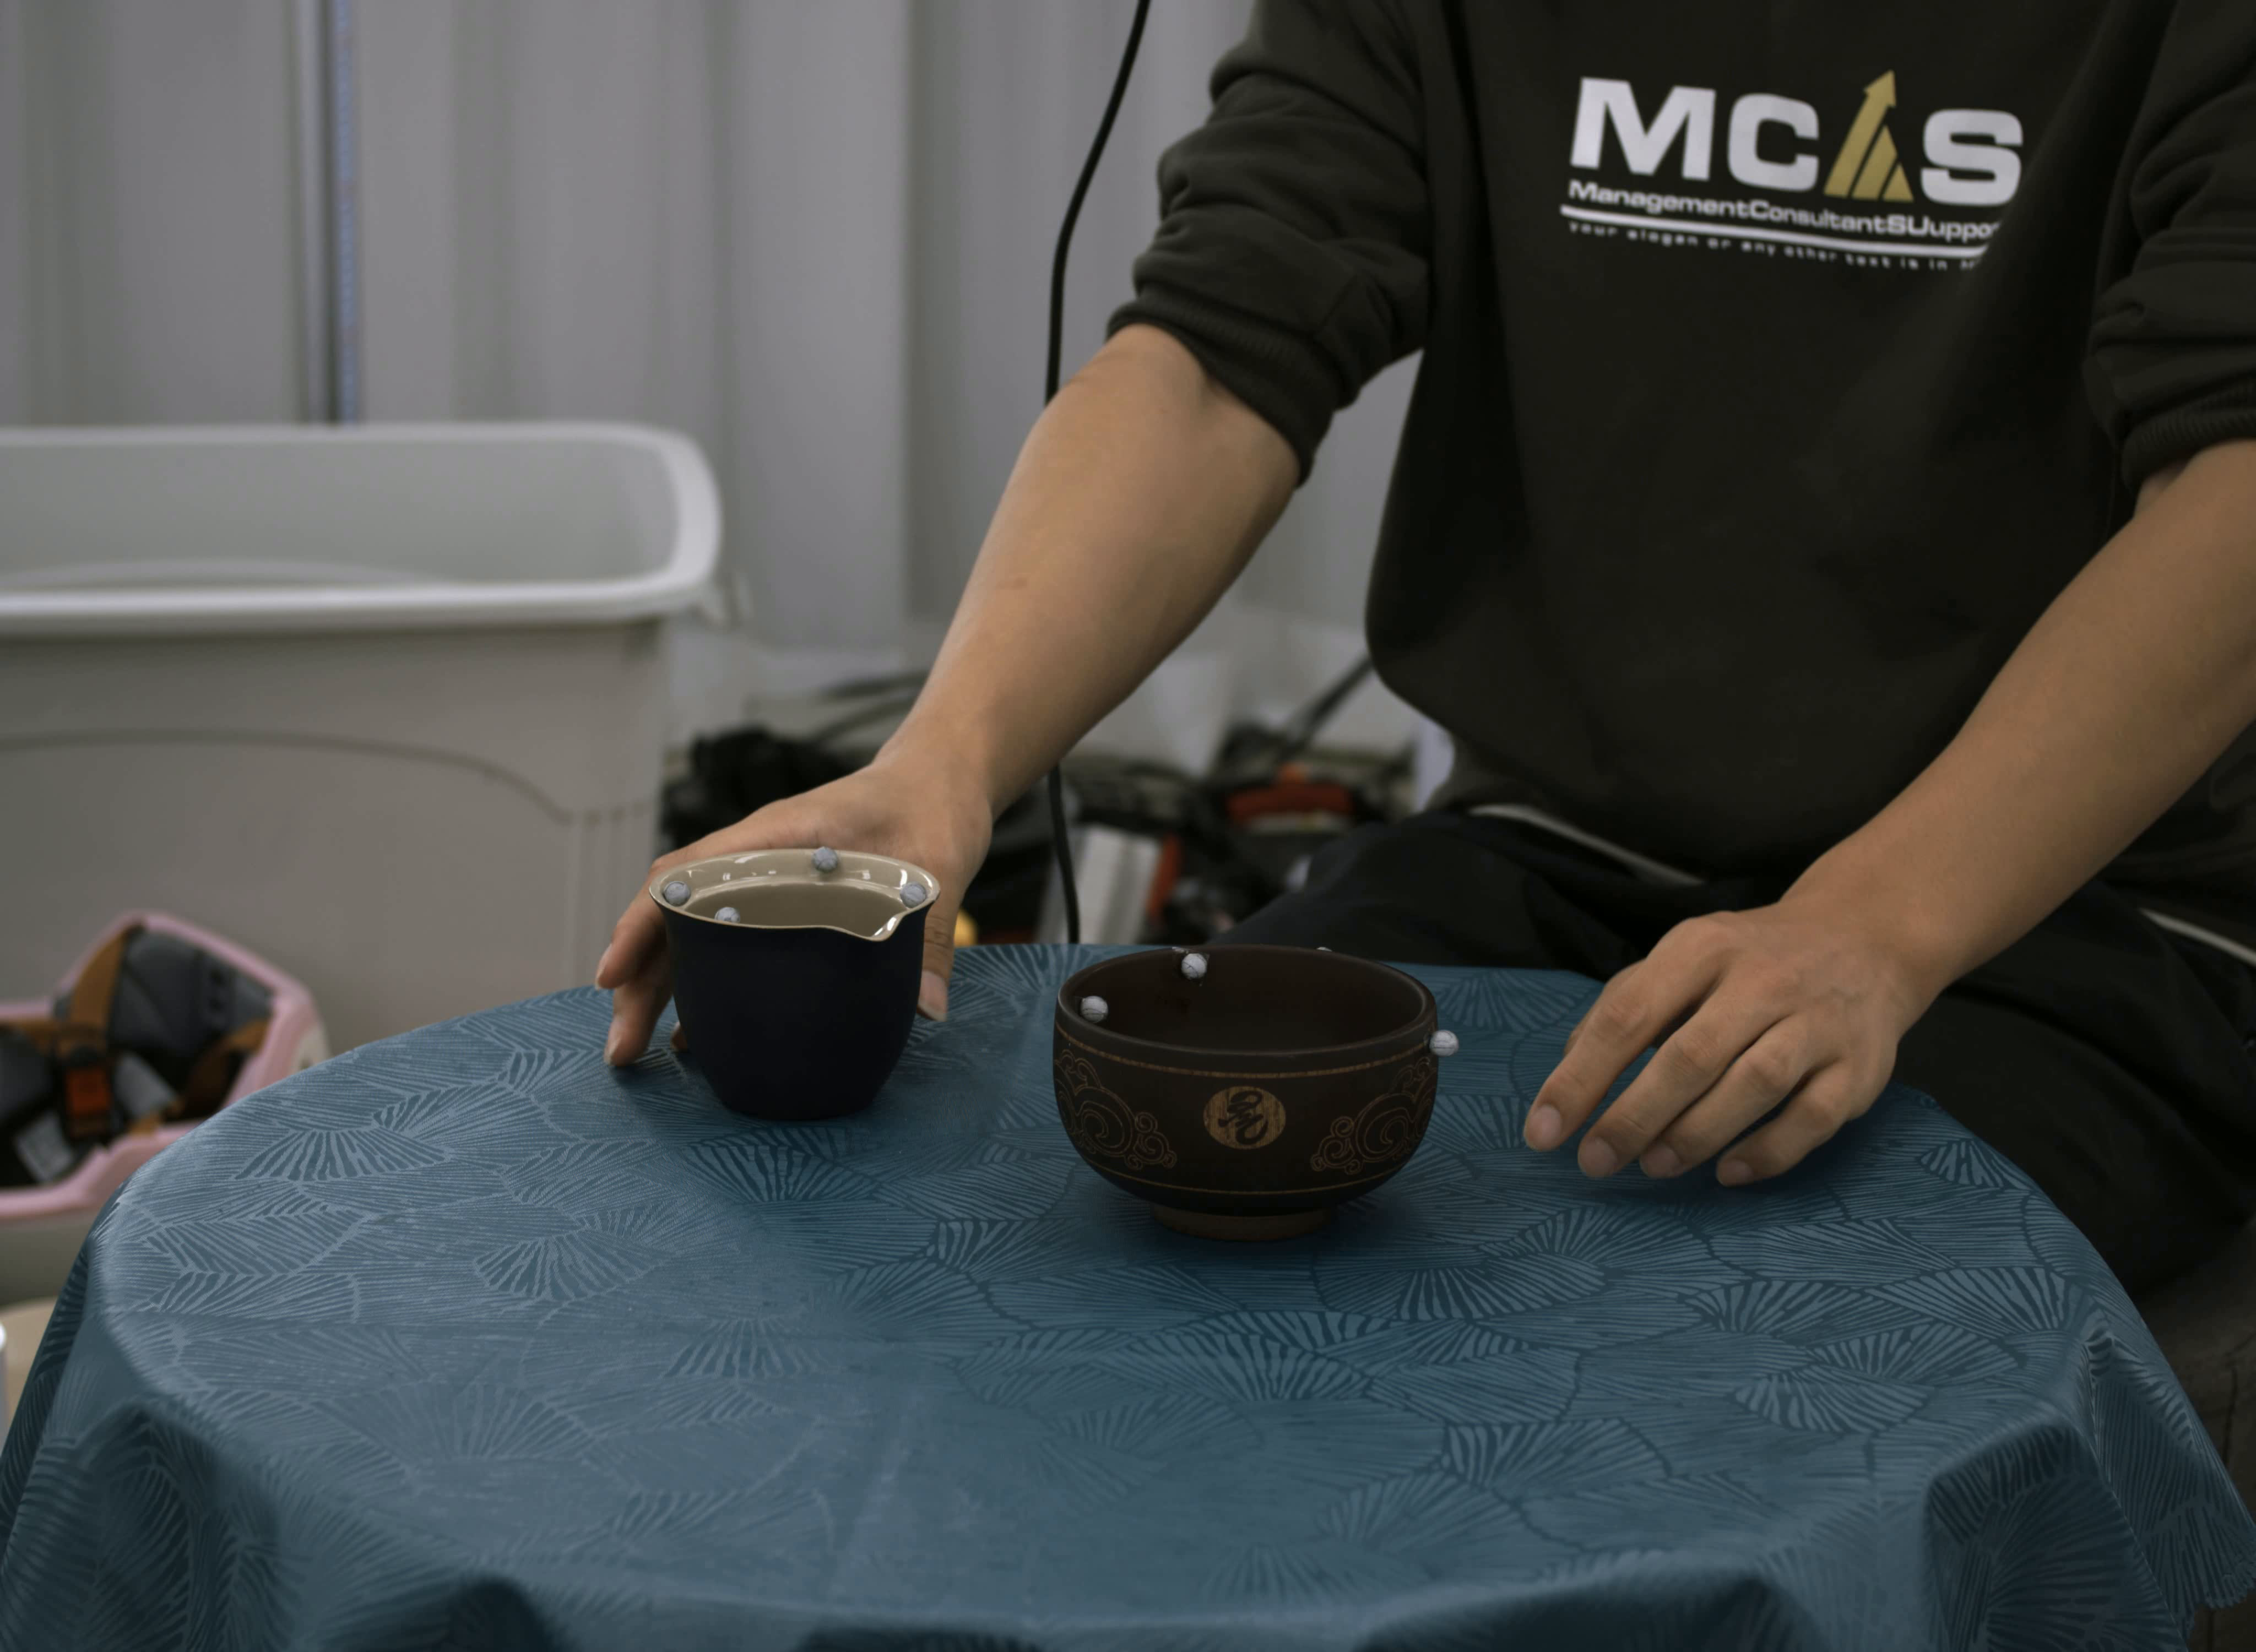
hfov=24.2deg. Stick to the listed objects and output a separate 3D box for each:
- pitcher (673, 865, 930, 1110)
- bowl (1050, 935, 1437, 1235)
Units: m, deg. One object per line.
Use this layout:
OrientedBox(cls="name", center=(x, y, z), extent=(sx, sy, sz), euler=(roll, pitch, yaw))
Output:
OrientedBox(cls="pitcher", center=(-0.104, 0.052, 1.701), extent=(0.084, 0.072, 0.095), euler=(-5, 16, -26))
OrientedBox(cls="bowl", center=(0.035, 0.083, 1.605), extent=(0.117, 0.070, 0.117), euler=(-1, 17, 1))
